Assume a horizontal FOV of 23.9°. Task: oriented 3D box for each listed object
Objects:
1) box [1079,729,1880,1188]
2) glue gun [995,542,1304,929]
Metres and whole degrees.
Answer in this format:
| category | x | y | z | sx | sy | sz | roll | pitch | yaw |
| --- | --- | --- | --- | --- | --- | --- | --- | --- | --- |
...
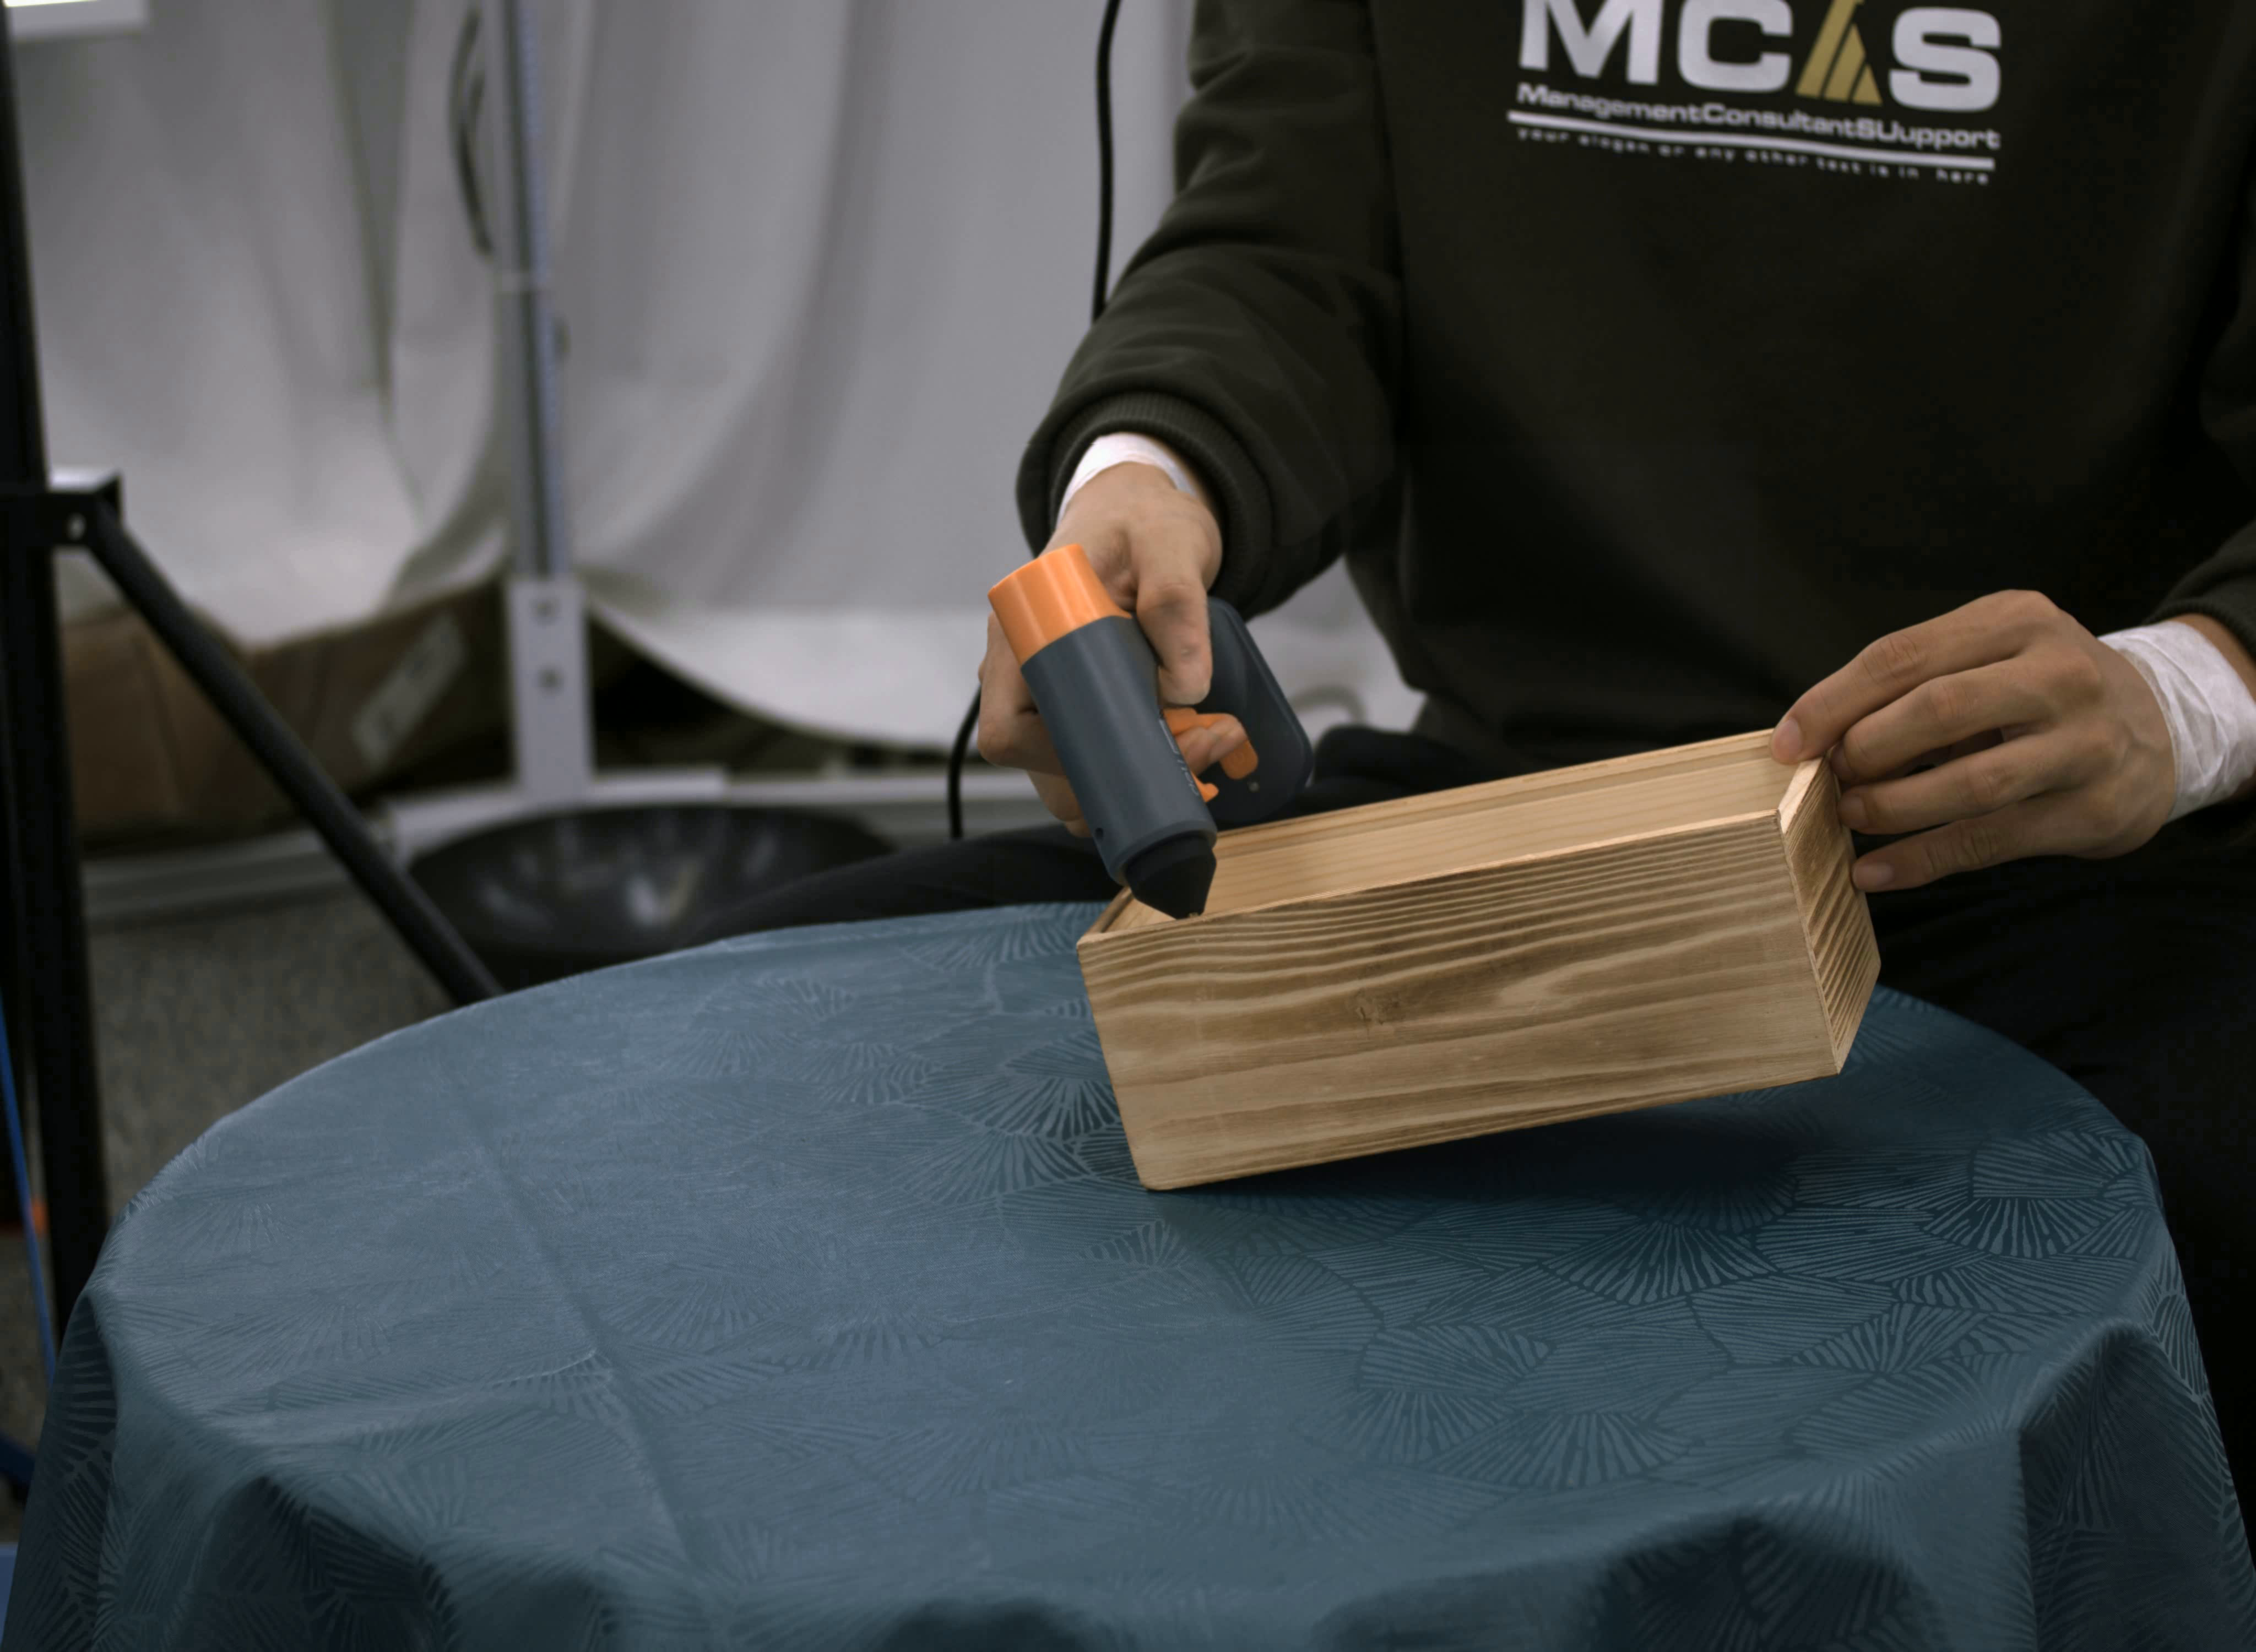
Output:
| category | x | y | z | sx | sy | sz | roll | pitch | yaw |
| --- | --- | --- | --- | --- | --- | --- | --- | --- | --- |
| box | 0.105 | 0.039 | 1.562 | 0.213 | 0.080 | 0.106 | -10 | 11 | 19 |
| glue gun | 0.010 | -0.027 | 1.602 | 0.041 | 0.119 | 0.138 | -29 | -6 | 18 |
